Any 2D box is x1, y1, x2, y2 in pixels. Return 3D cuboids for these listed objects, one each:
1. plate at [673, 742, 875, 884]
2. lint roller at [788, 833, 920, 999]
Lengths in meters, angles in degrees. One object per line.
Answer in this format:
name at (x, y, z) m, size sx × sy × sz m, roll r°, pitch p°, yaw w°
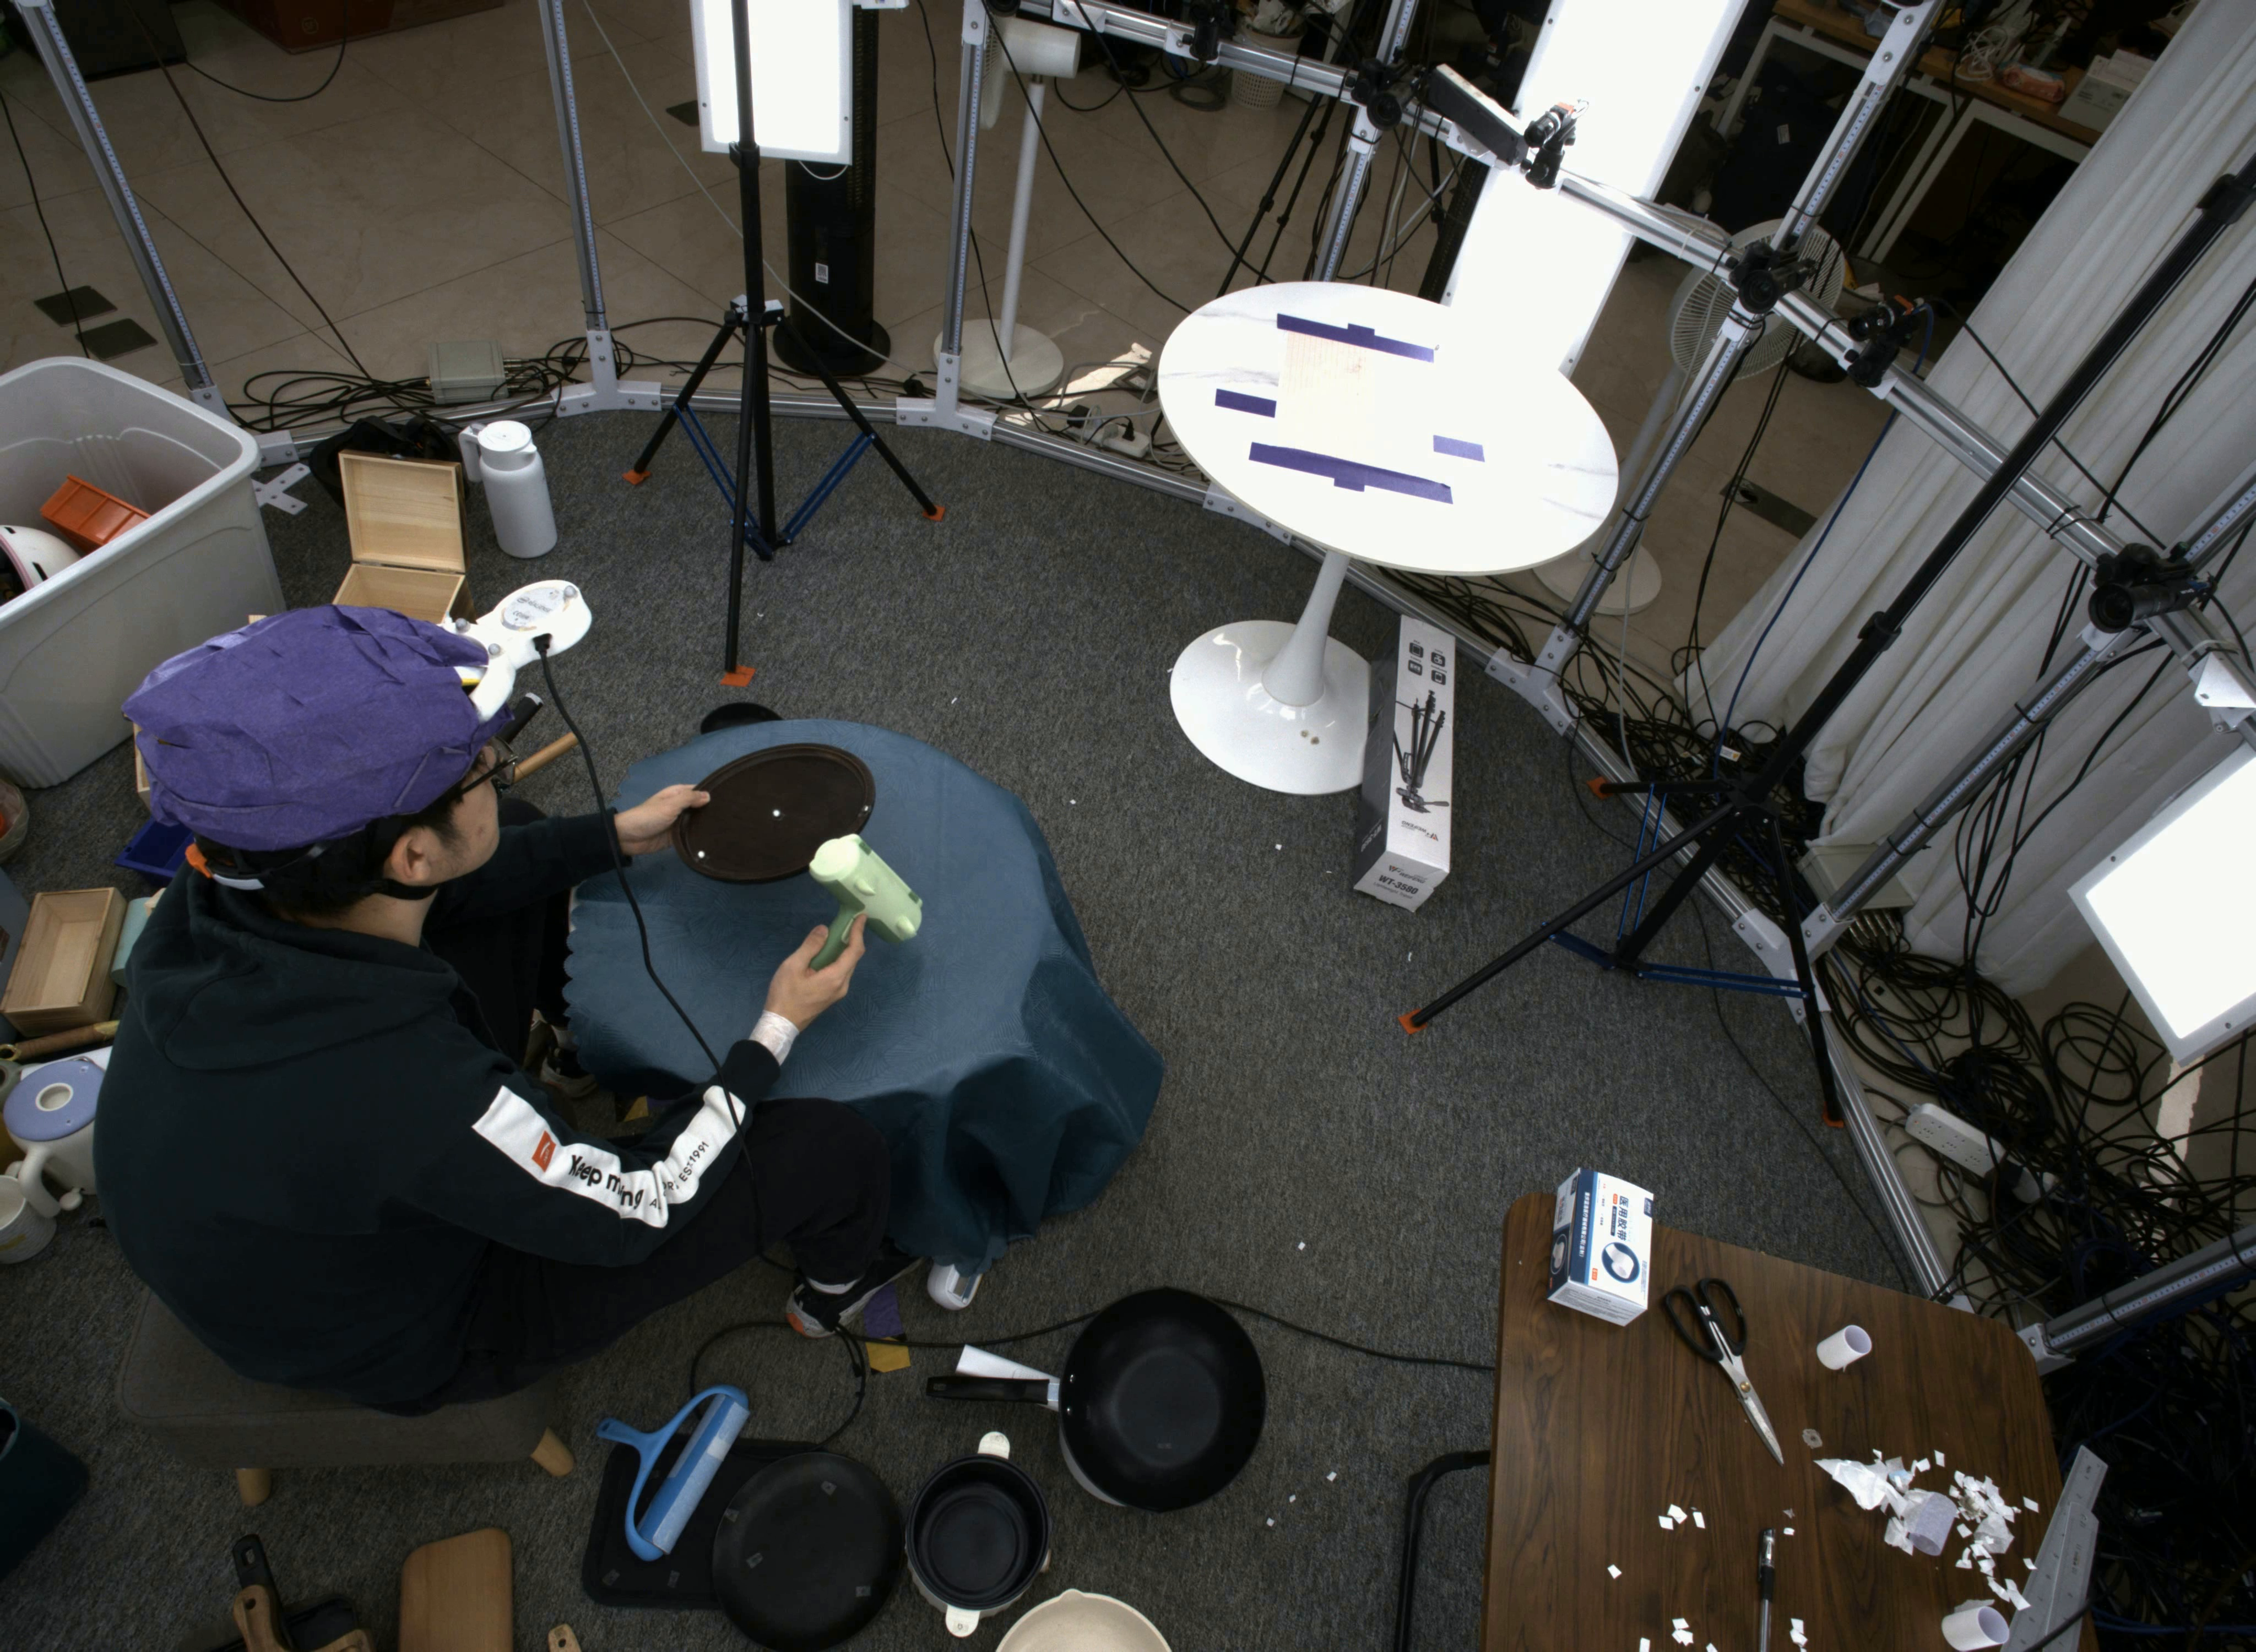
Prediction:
plate at (-0.434, -0.020, 1.592) m, size 0.251 × 0.030 × 0.249 m, roll -2°, pitch 43°, yaw 3°
lint roller at (-0.324, 0.127, 1.516) m, size 0.079 × 0.205 × 0.183 m, roll 17°, pitch 69°, yaw 24°
